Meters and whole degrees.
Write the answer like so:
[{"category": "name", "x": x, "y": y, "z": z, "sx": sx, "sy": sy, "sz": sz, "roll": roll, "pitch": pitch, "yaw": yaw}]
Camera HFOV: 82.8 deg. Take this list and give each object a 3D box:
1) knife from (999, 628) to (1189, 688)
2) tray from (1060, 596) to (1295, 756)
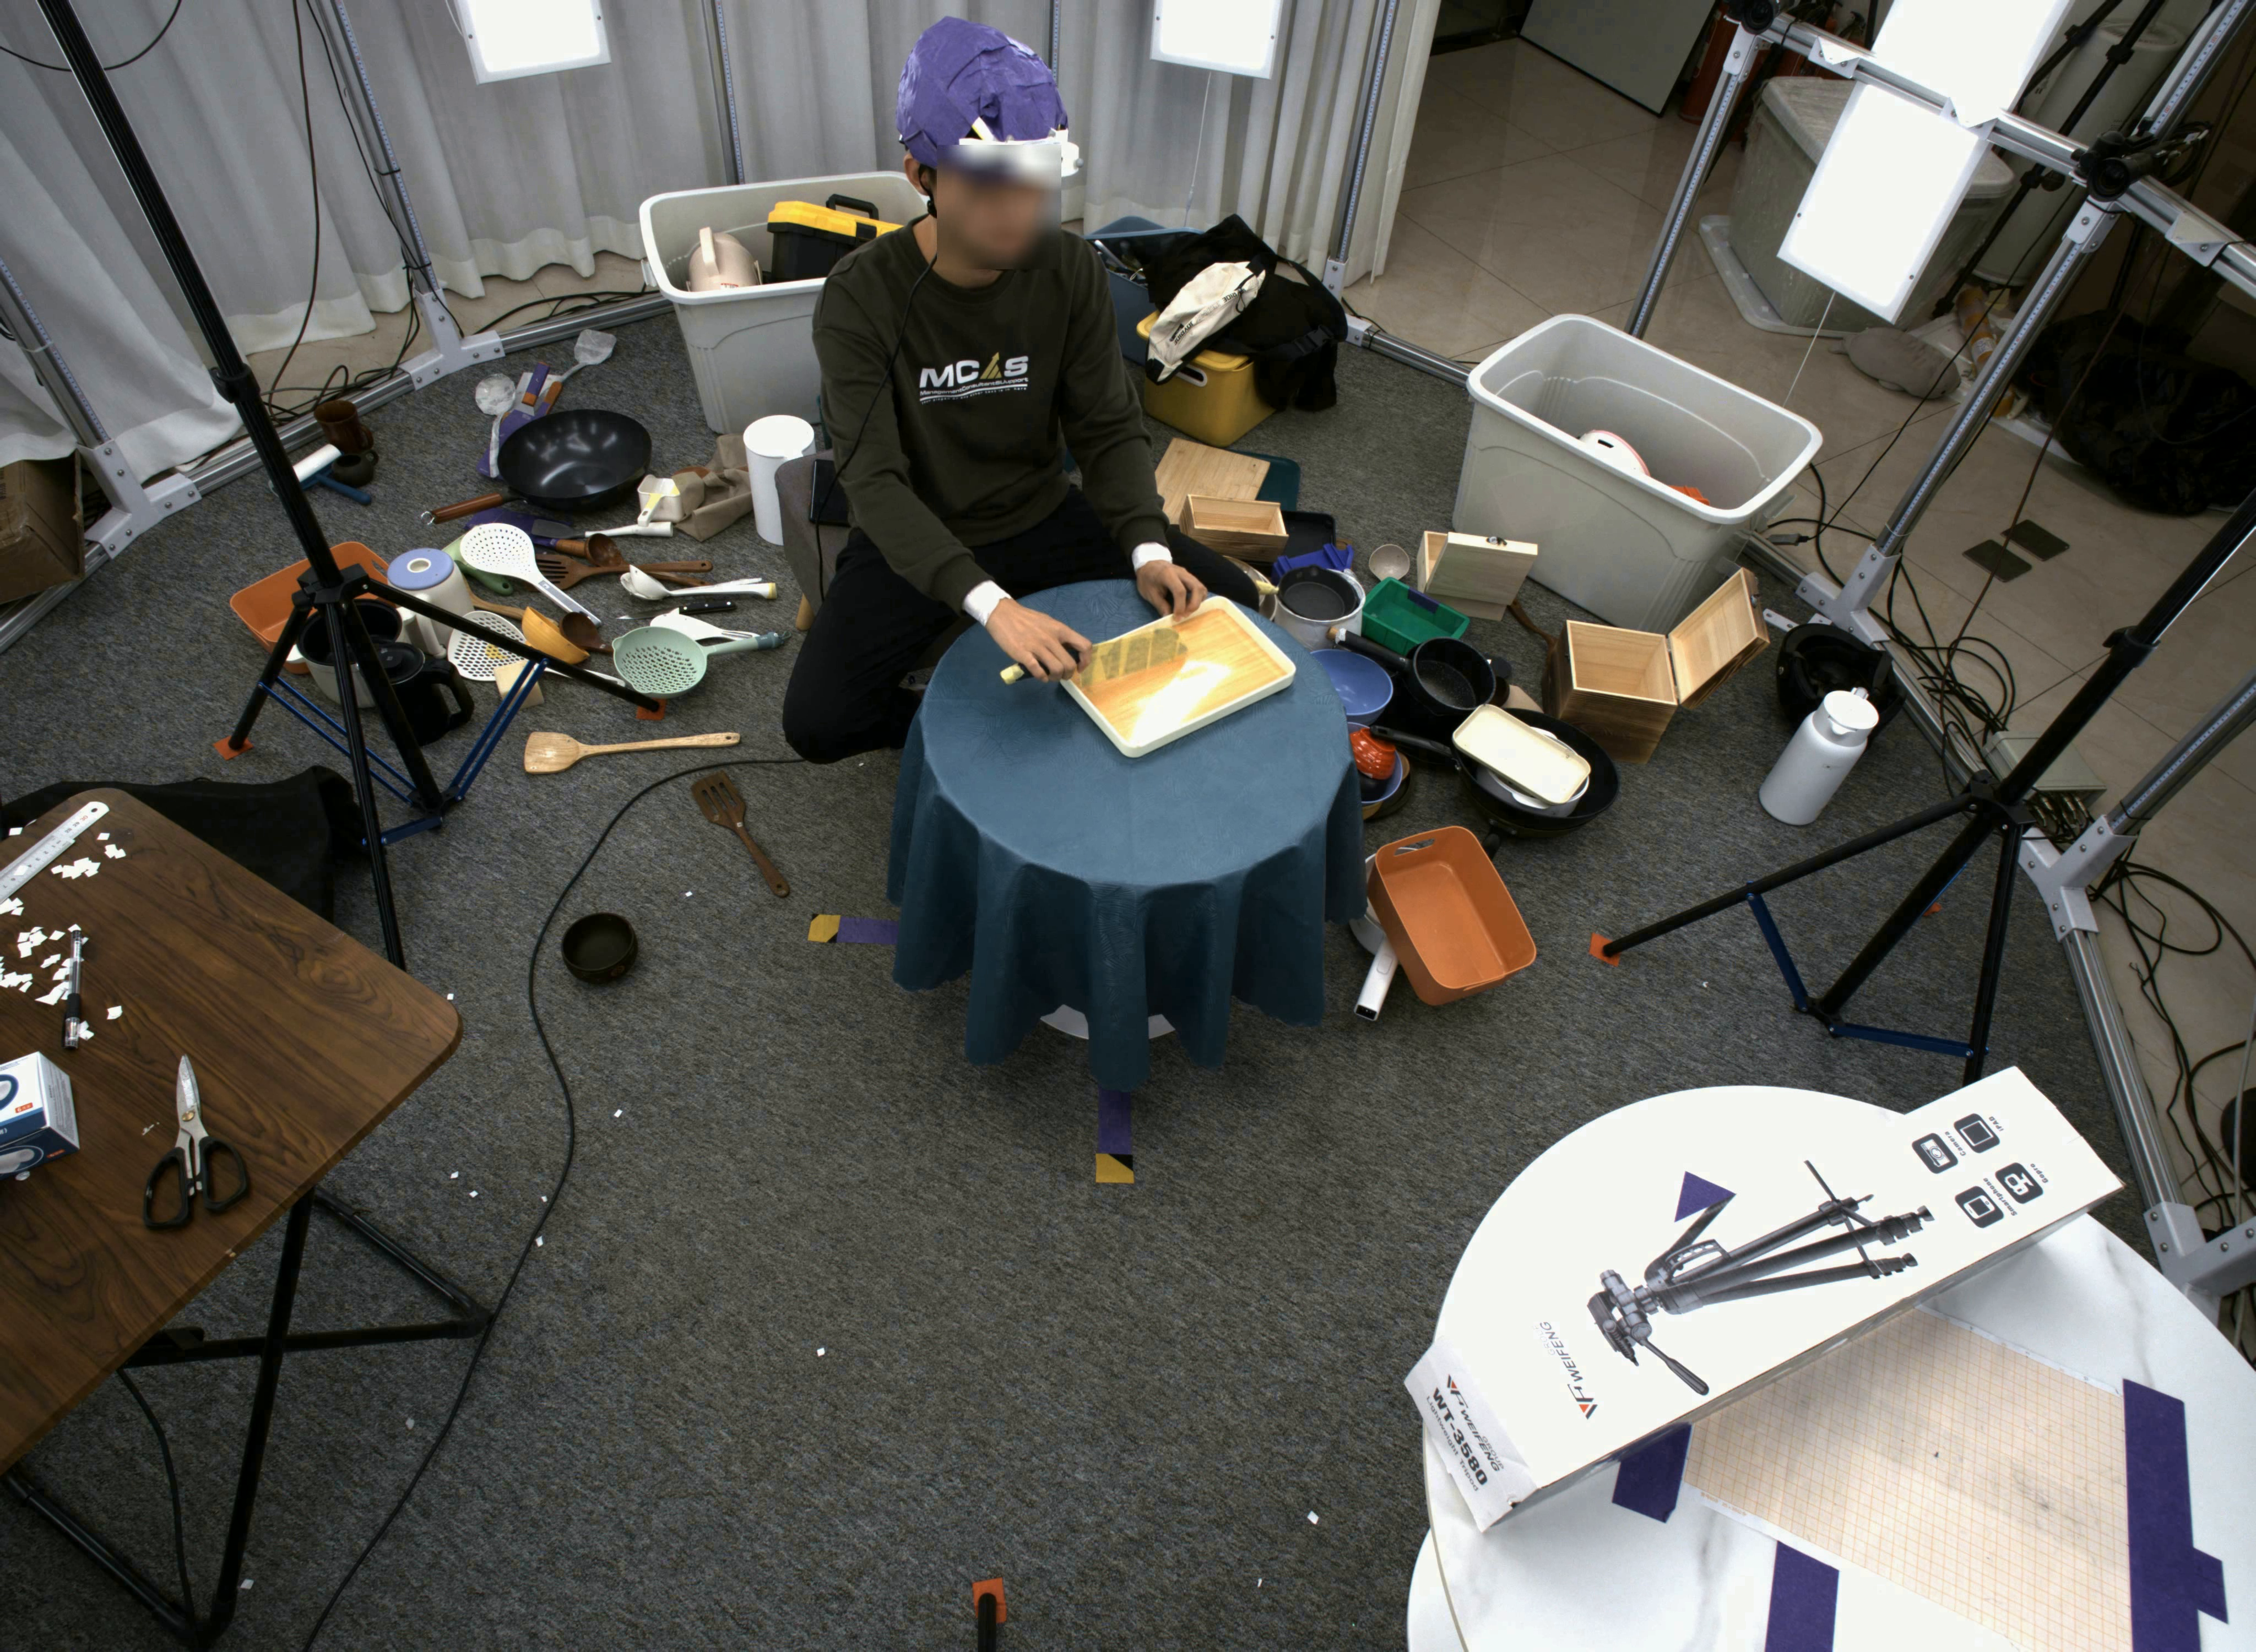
[{"category": "knife", "x": -0.043, "y": -0.228, "z": 1.797, "sx": 0.289, "sy": 0.079, "sz": 0.028, "roll": -13, "pitch": 47, "yaw": -21}, {"category": "tray", "x": 0.072, "y": -0.220, "z": 1.841, "sx": 0.301, "sy": 0.027, "sz": 0.195, "roll": -26, "pitch": 56, "yaw": -24}]
